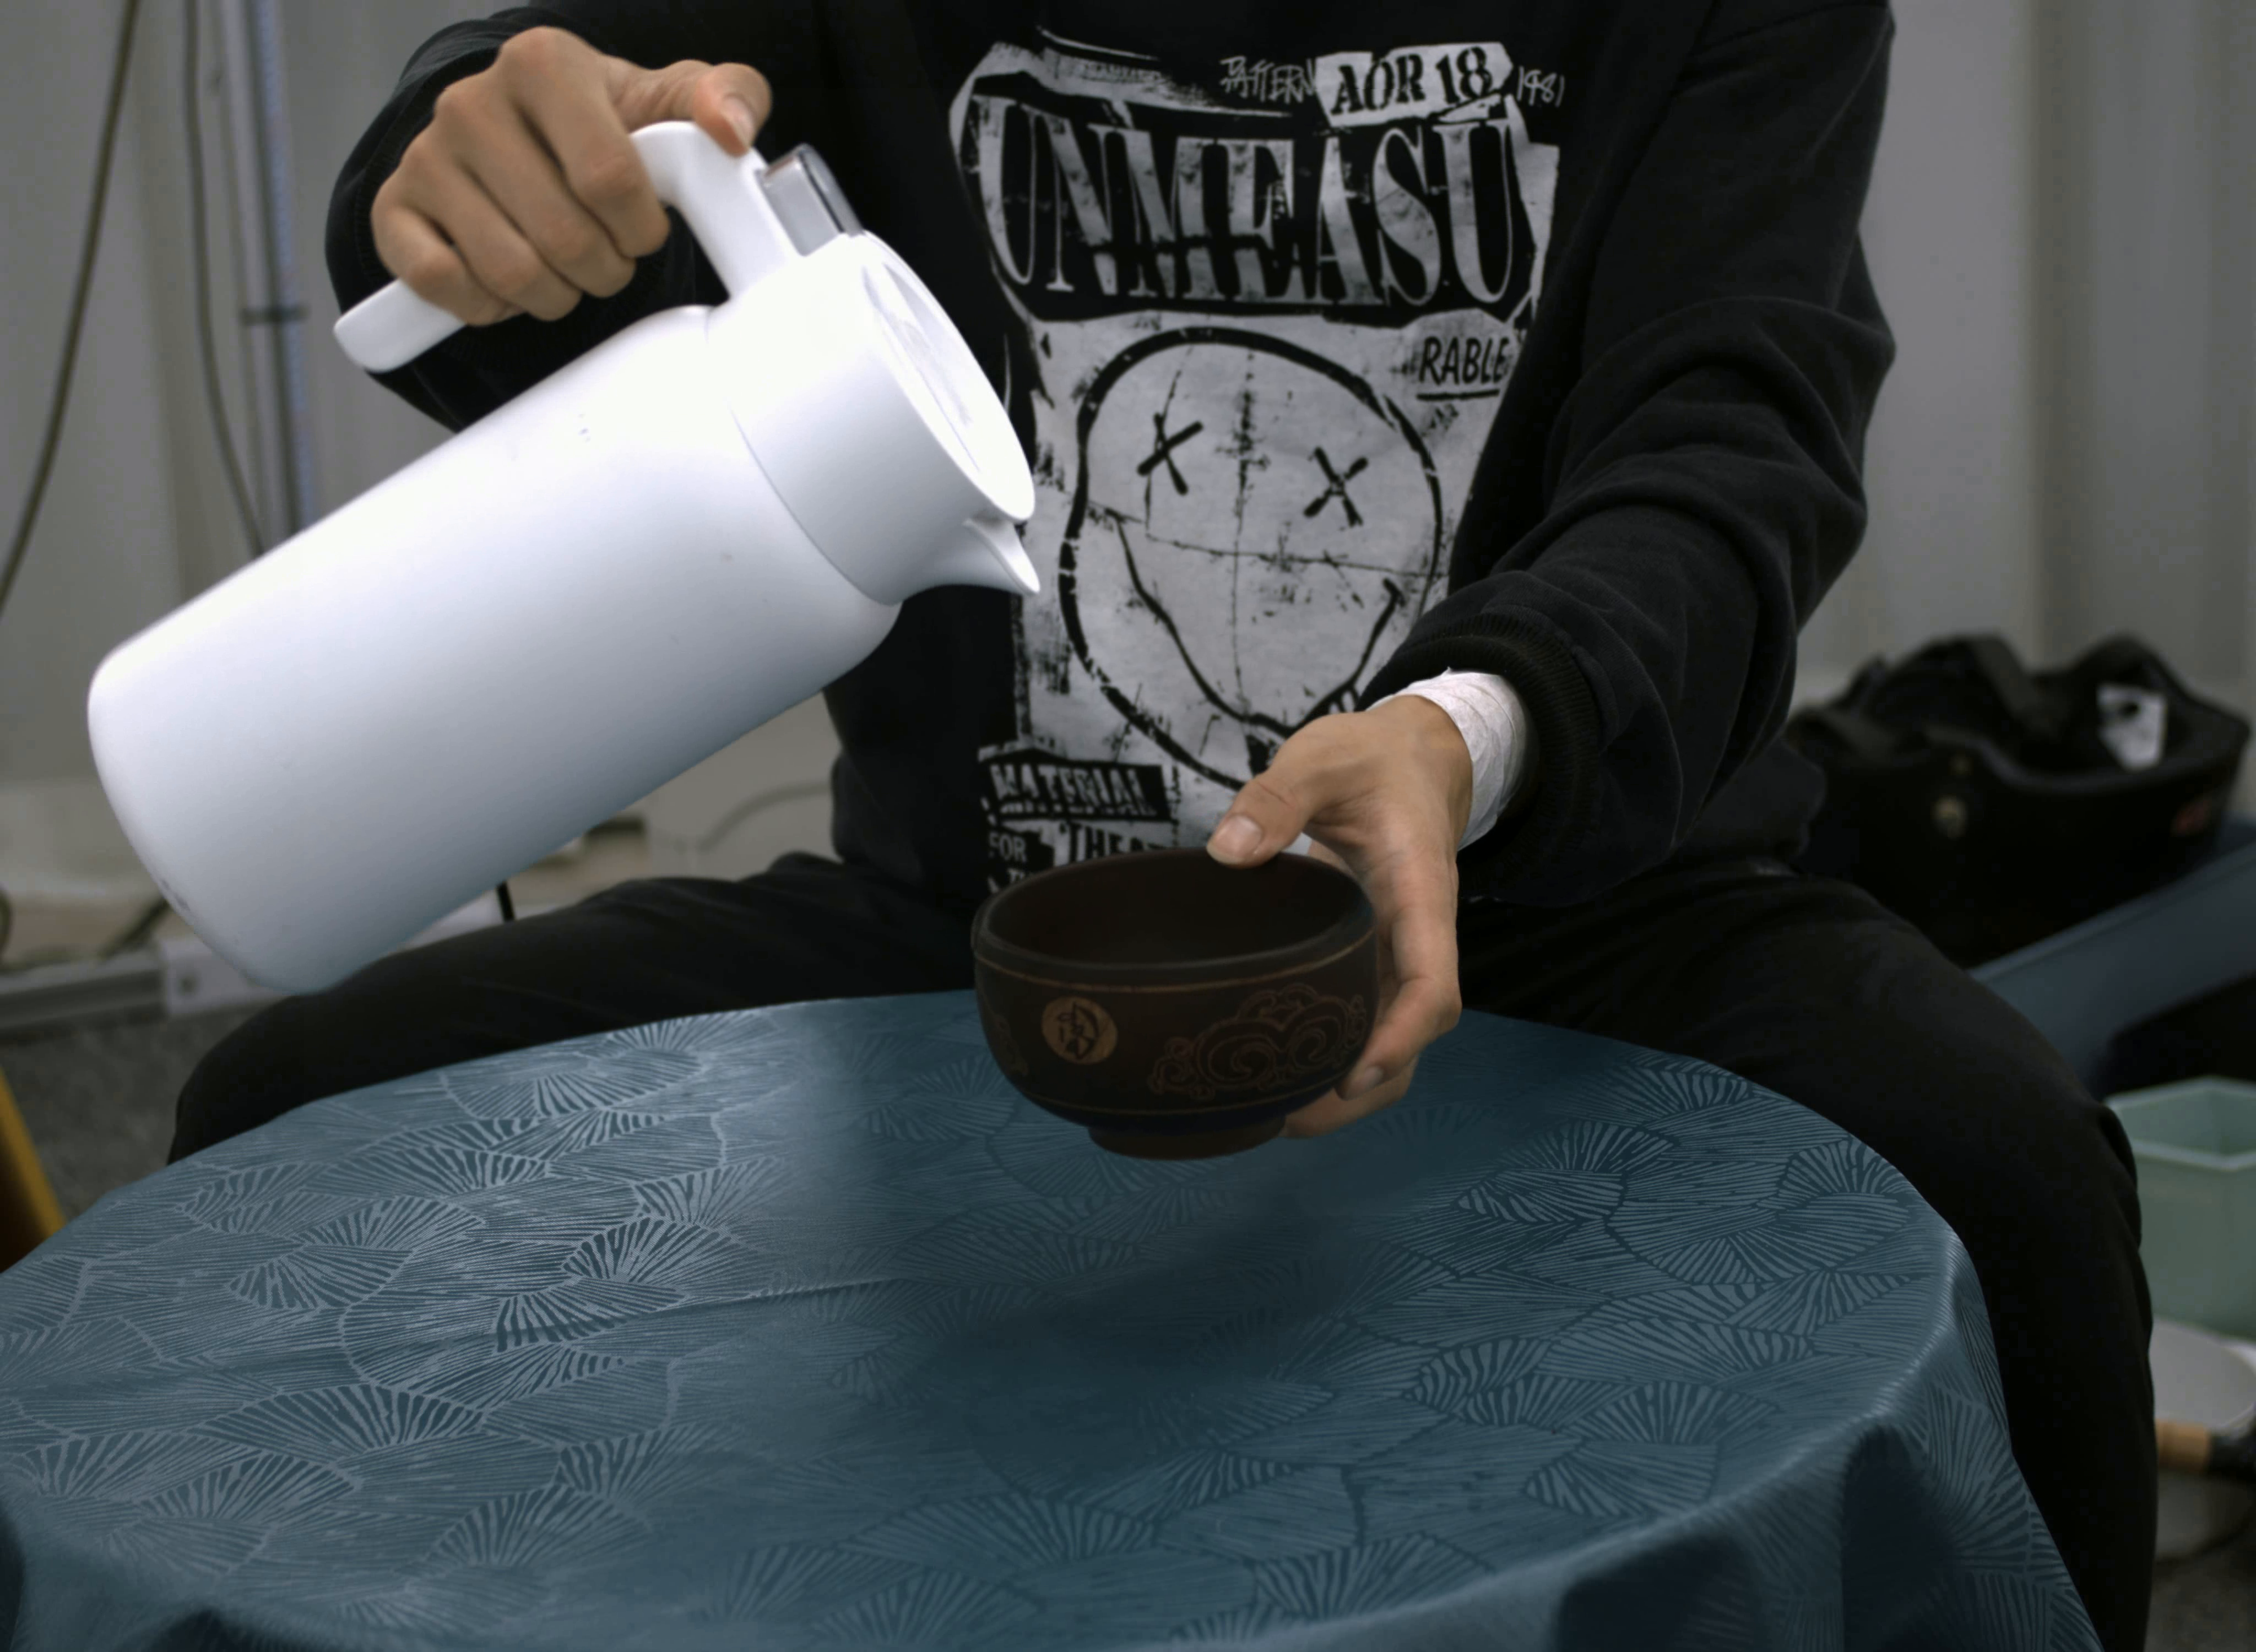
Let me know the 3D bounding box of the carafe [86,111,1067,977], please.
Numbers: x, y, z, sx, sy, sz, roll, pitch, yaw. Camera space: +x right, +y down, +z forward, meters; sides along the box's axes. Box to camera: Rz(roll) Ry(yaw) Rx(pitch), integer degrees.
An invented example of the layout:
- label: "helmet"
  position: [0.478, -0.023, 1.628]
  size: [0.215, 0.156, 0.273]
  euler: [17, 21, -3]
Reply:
- label: "carafe"
  position: [-0.170, -0.081, 1.576]
  size: [0.268, 0.173, 0.124]
  euler: [-30, 2, 15]

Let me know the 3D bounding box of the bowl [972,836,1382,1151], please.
- label: "bowl"
  position: [0.015, 0.052, 1.575]
  size: [0.117, 0.069, 0.119]
  euler: [-4, 15, 1]
